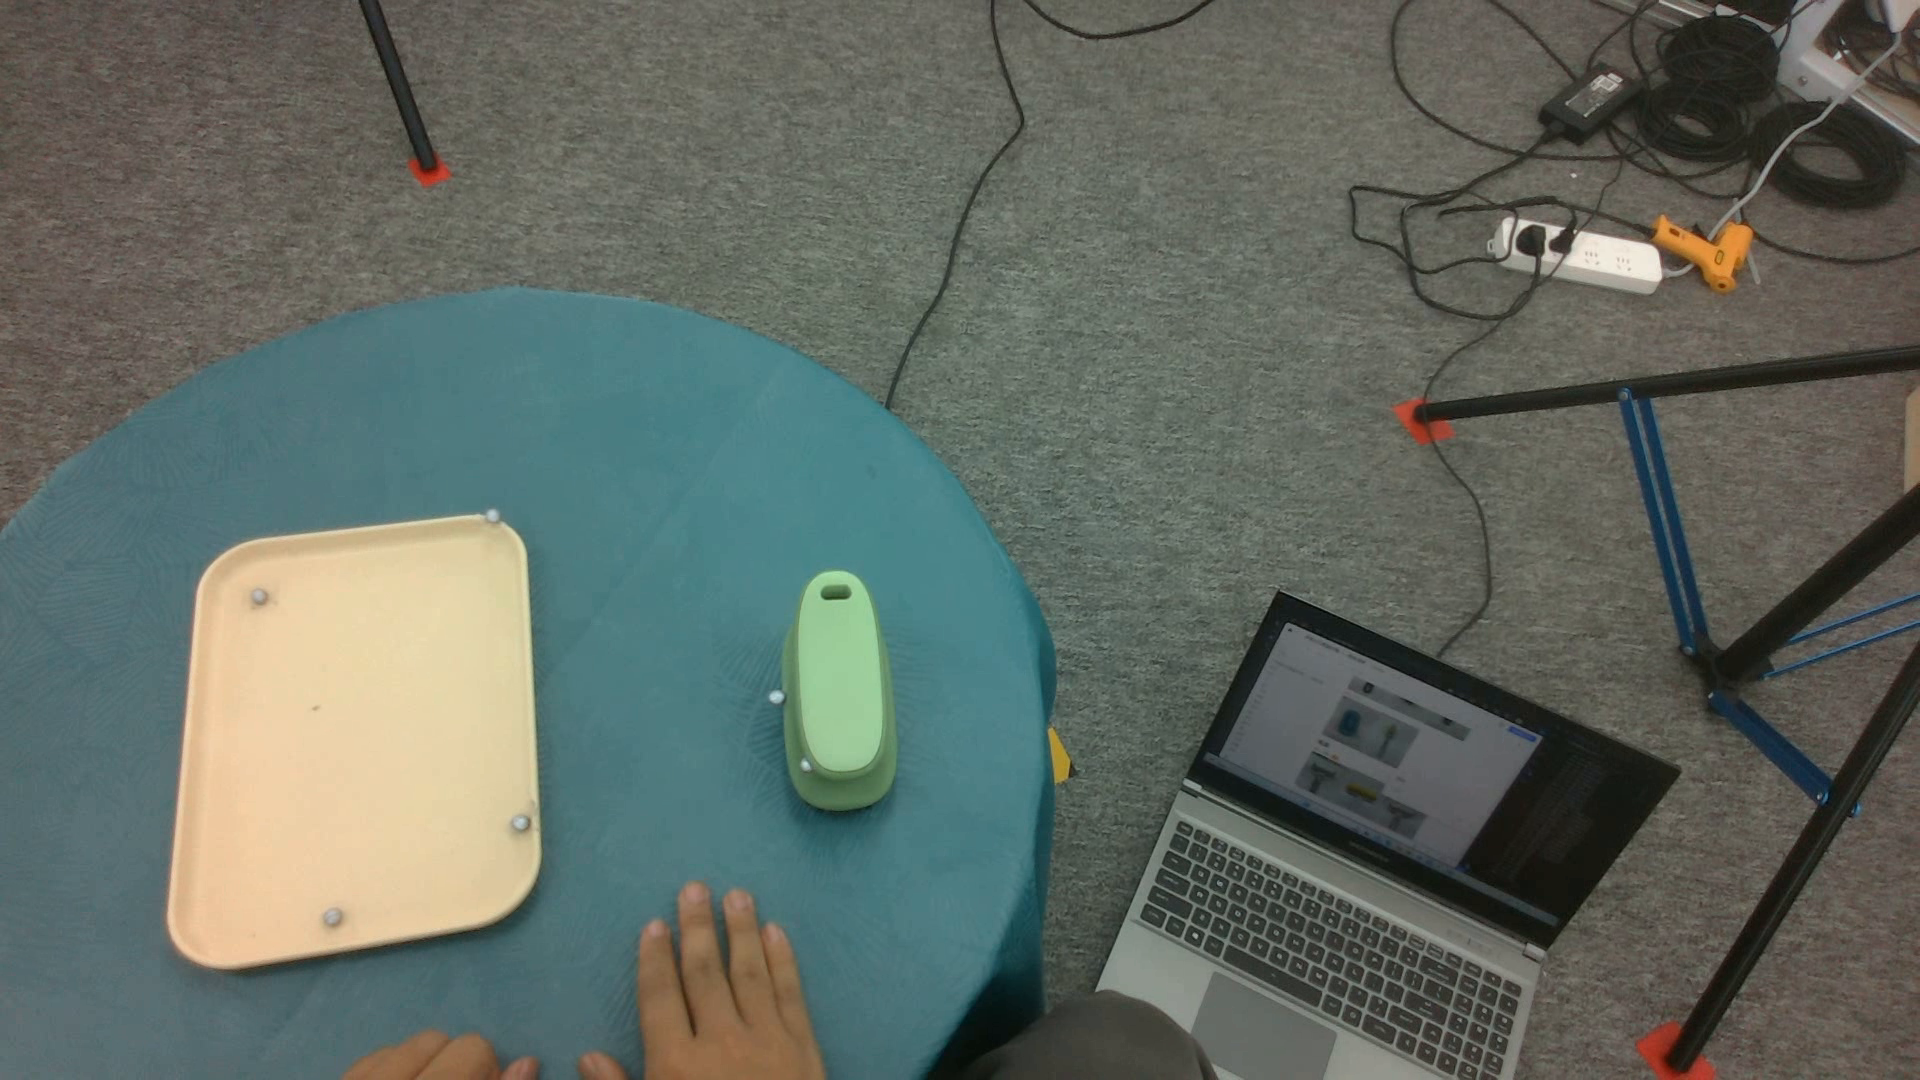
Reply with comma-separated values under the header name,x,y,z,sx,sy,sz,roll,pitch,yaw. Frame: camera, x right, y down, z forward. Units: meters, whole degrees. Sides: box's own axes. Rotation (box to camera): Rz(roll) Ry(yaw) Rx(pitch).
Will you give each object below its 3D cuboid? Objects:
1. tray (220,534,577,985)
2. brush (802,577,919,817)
name,x,y,z,sx,sy,sz,roll,pitch,yaw
tray,-0.298,0.108,0.734,0.171,0.017,0.240,-9,58,-10
brush,-0.055,0.088,0.747,0.059,0.075,0.123,-6,71,-8
